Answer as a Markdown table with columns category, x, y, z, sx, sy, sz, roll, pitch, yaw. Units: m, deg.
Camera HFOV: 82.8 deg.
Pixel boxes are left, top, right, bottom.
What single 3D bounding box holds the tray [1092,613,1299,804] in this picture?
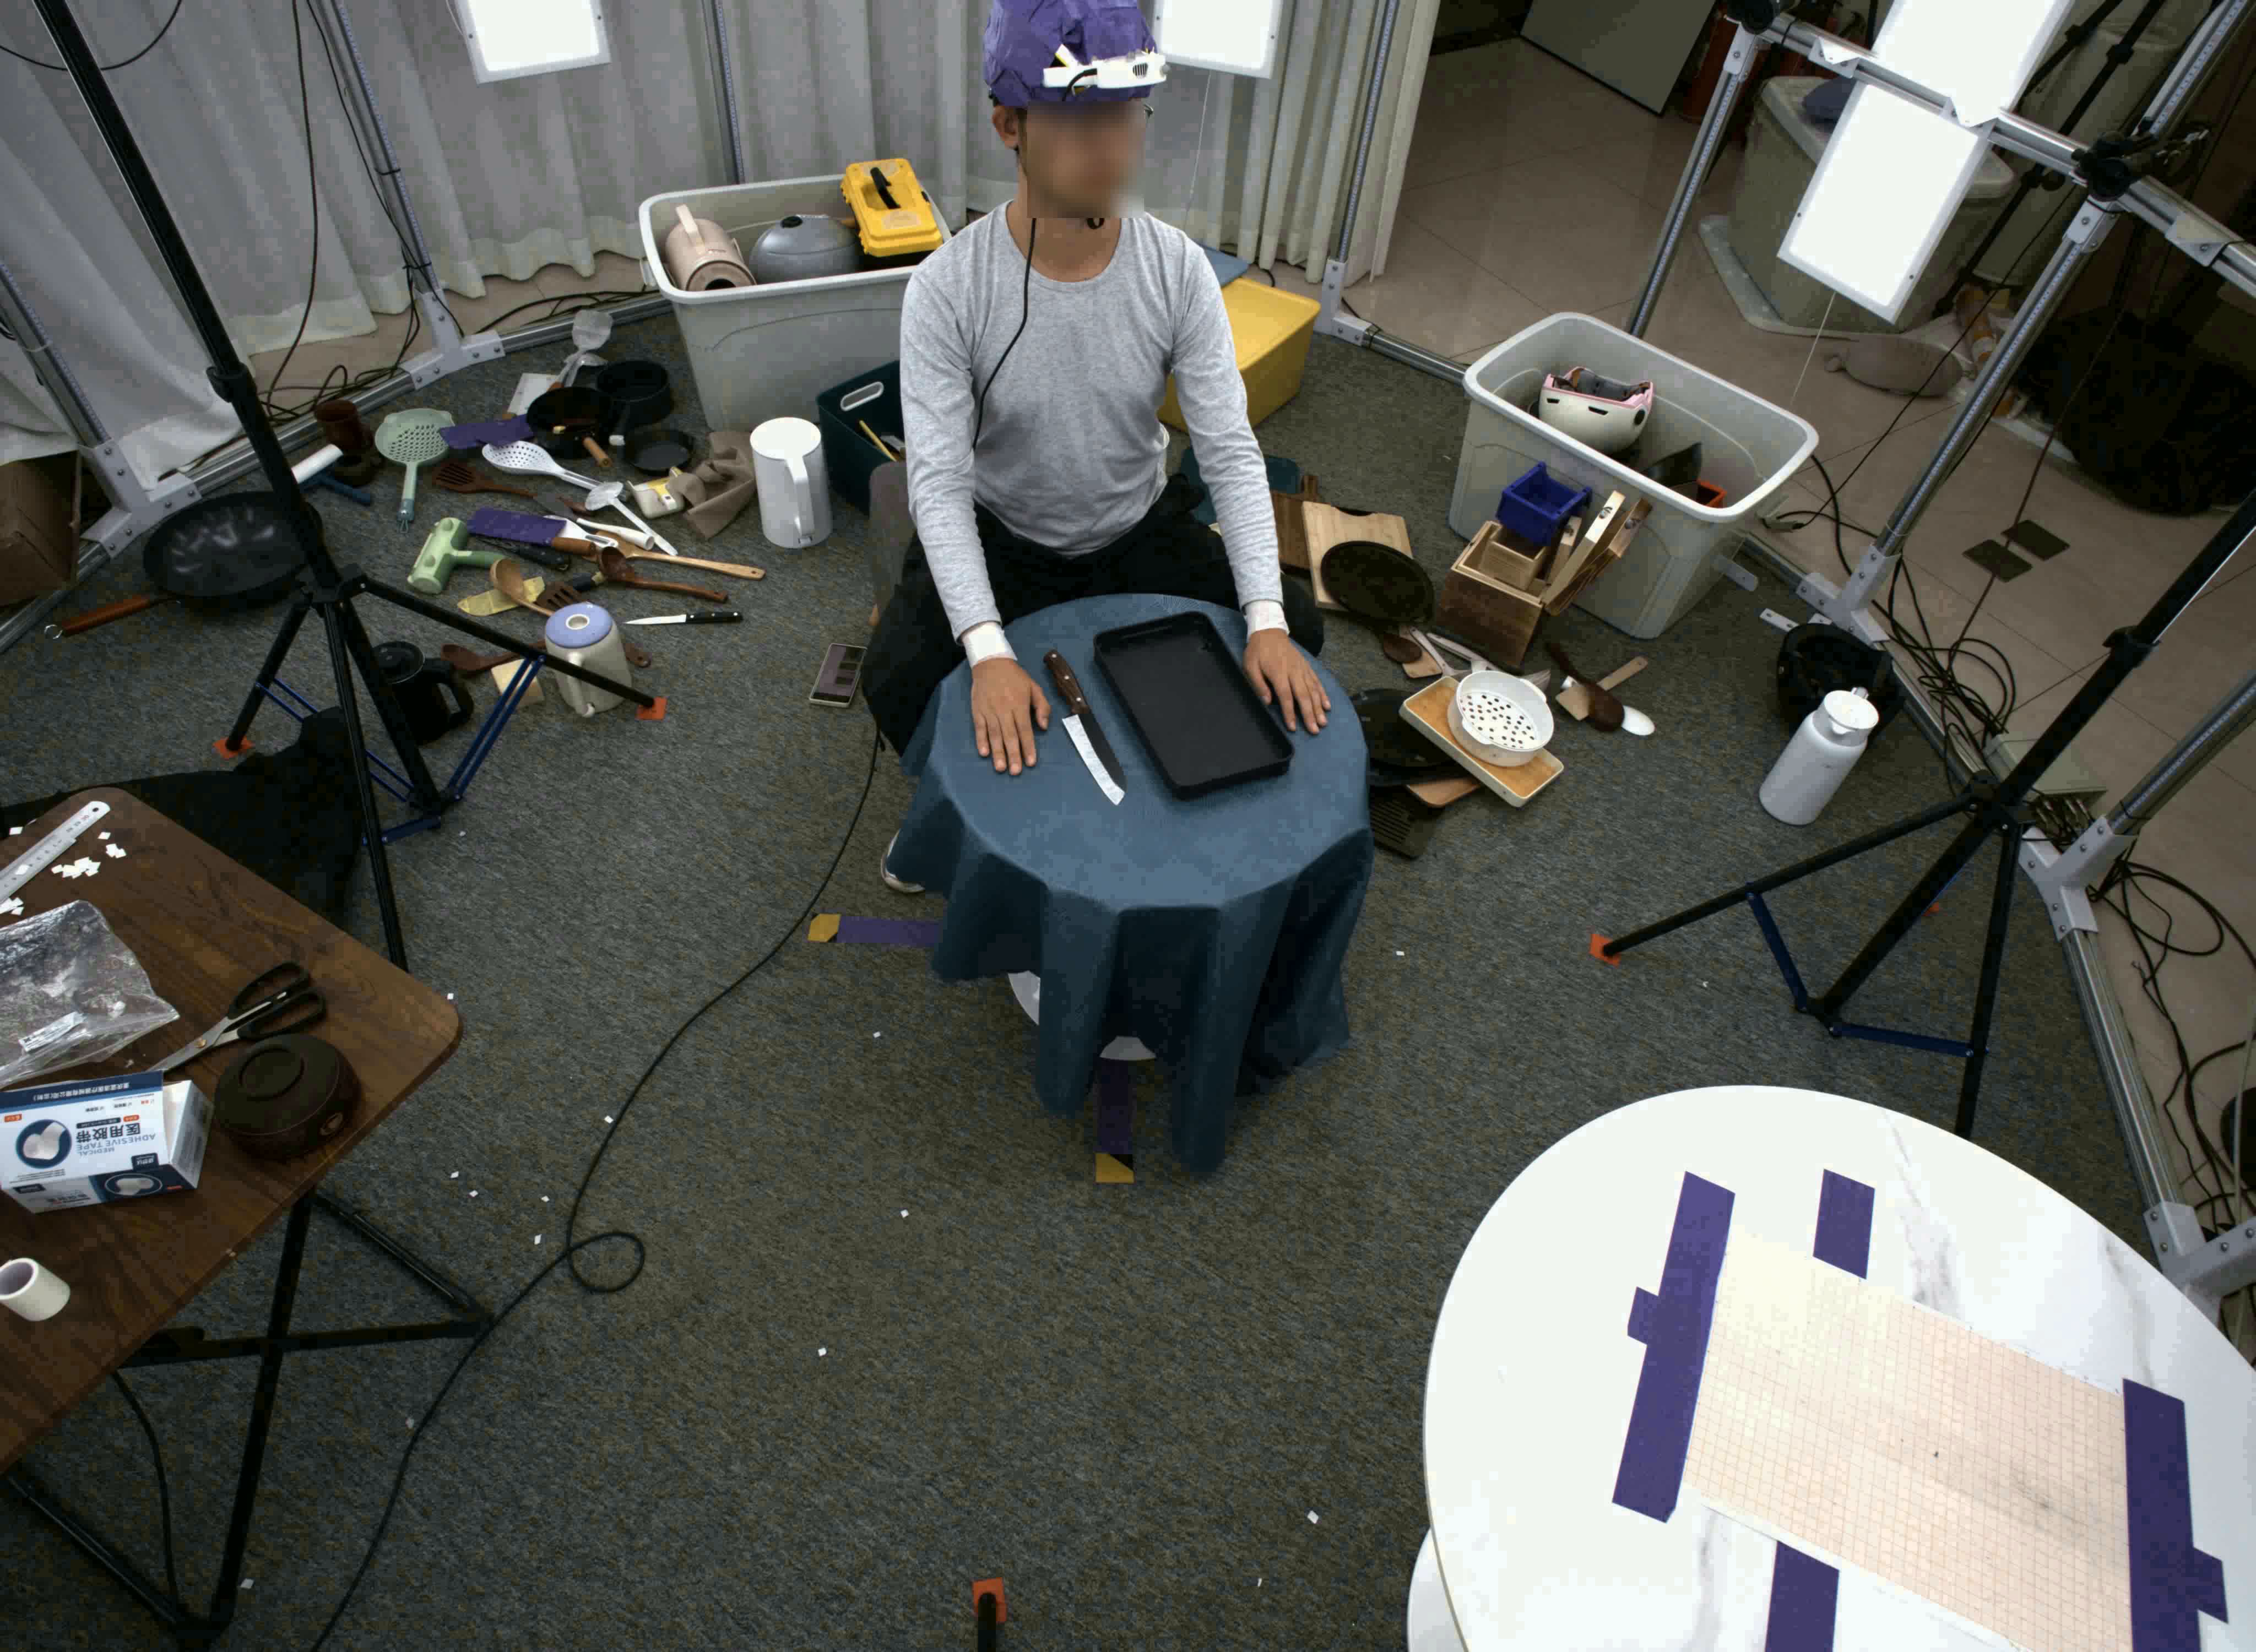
| category | x | y | z | sx | sy | sz | roll | pitch | yaw |
| --- | --- | --- | --- | --- | --- | --- | --- | --- | --- |
| tray | 0.089 | -0.171 | 1.799 | 0.184 | 0.036 | 0.325 | -17 | 52 | -18 |

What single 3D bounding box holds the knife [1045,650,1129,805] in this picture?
| category | x | y | z | sx | sy | sz | roll | pitch | yaw |
| --- | --- | --- | --- | --- | --- | --- | --- | --- | --- |
| knife | -0.060 | -0.139 | 1.774 | 0.050 | 0.019 | 0.296 | -17 | 54 | -11 |
